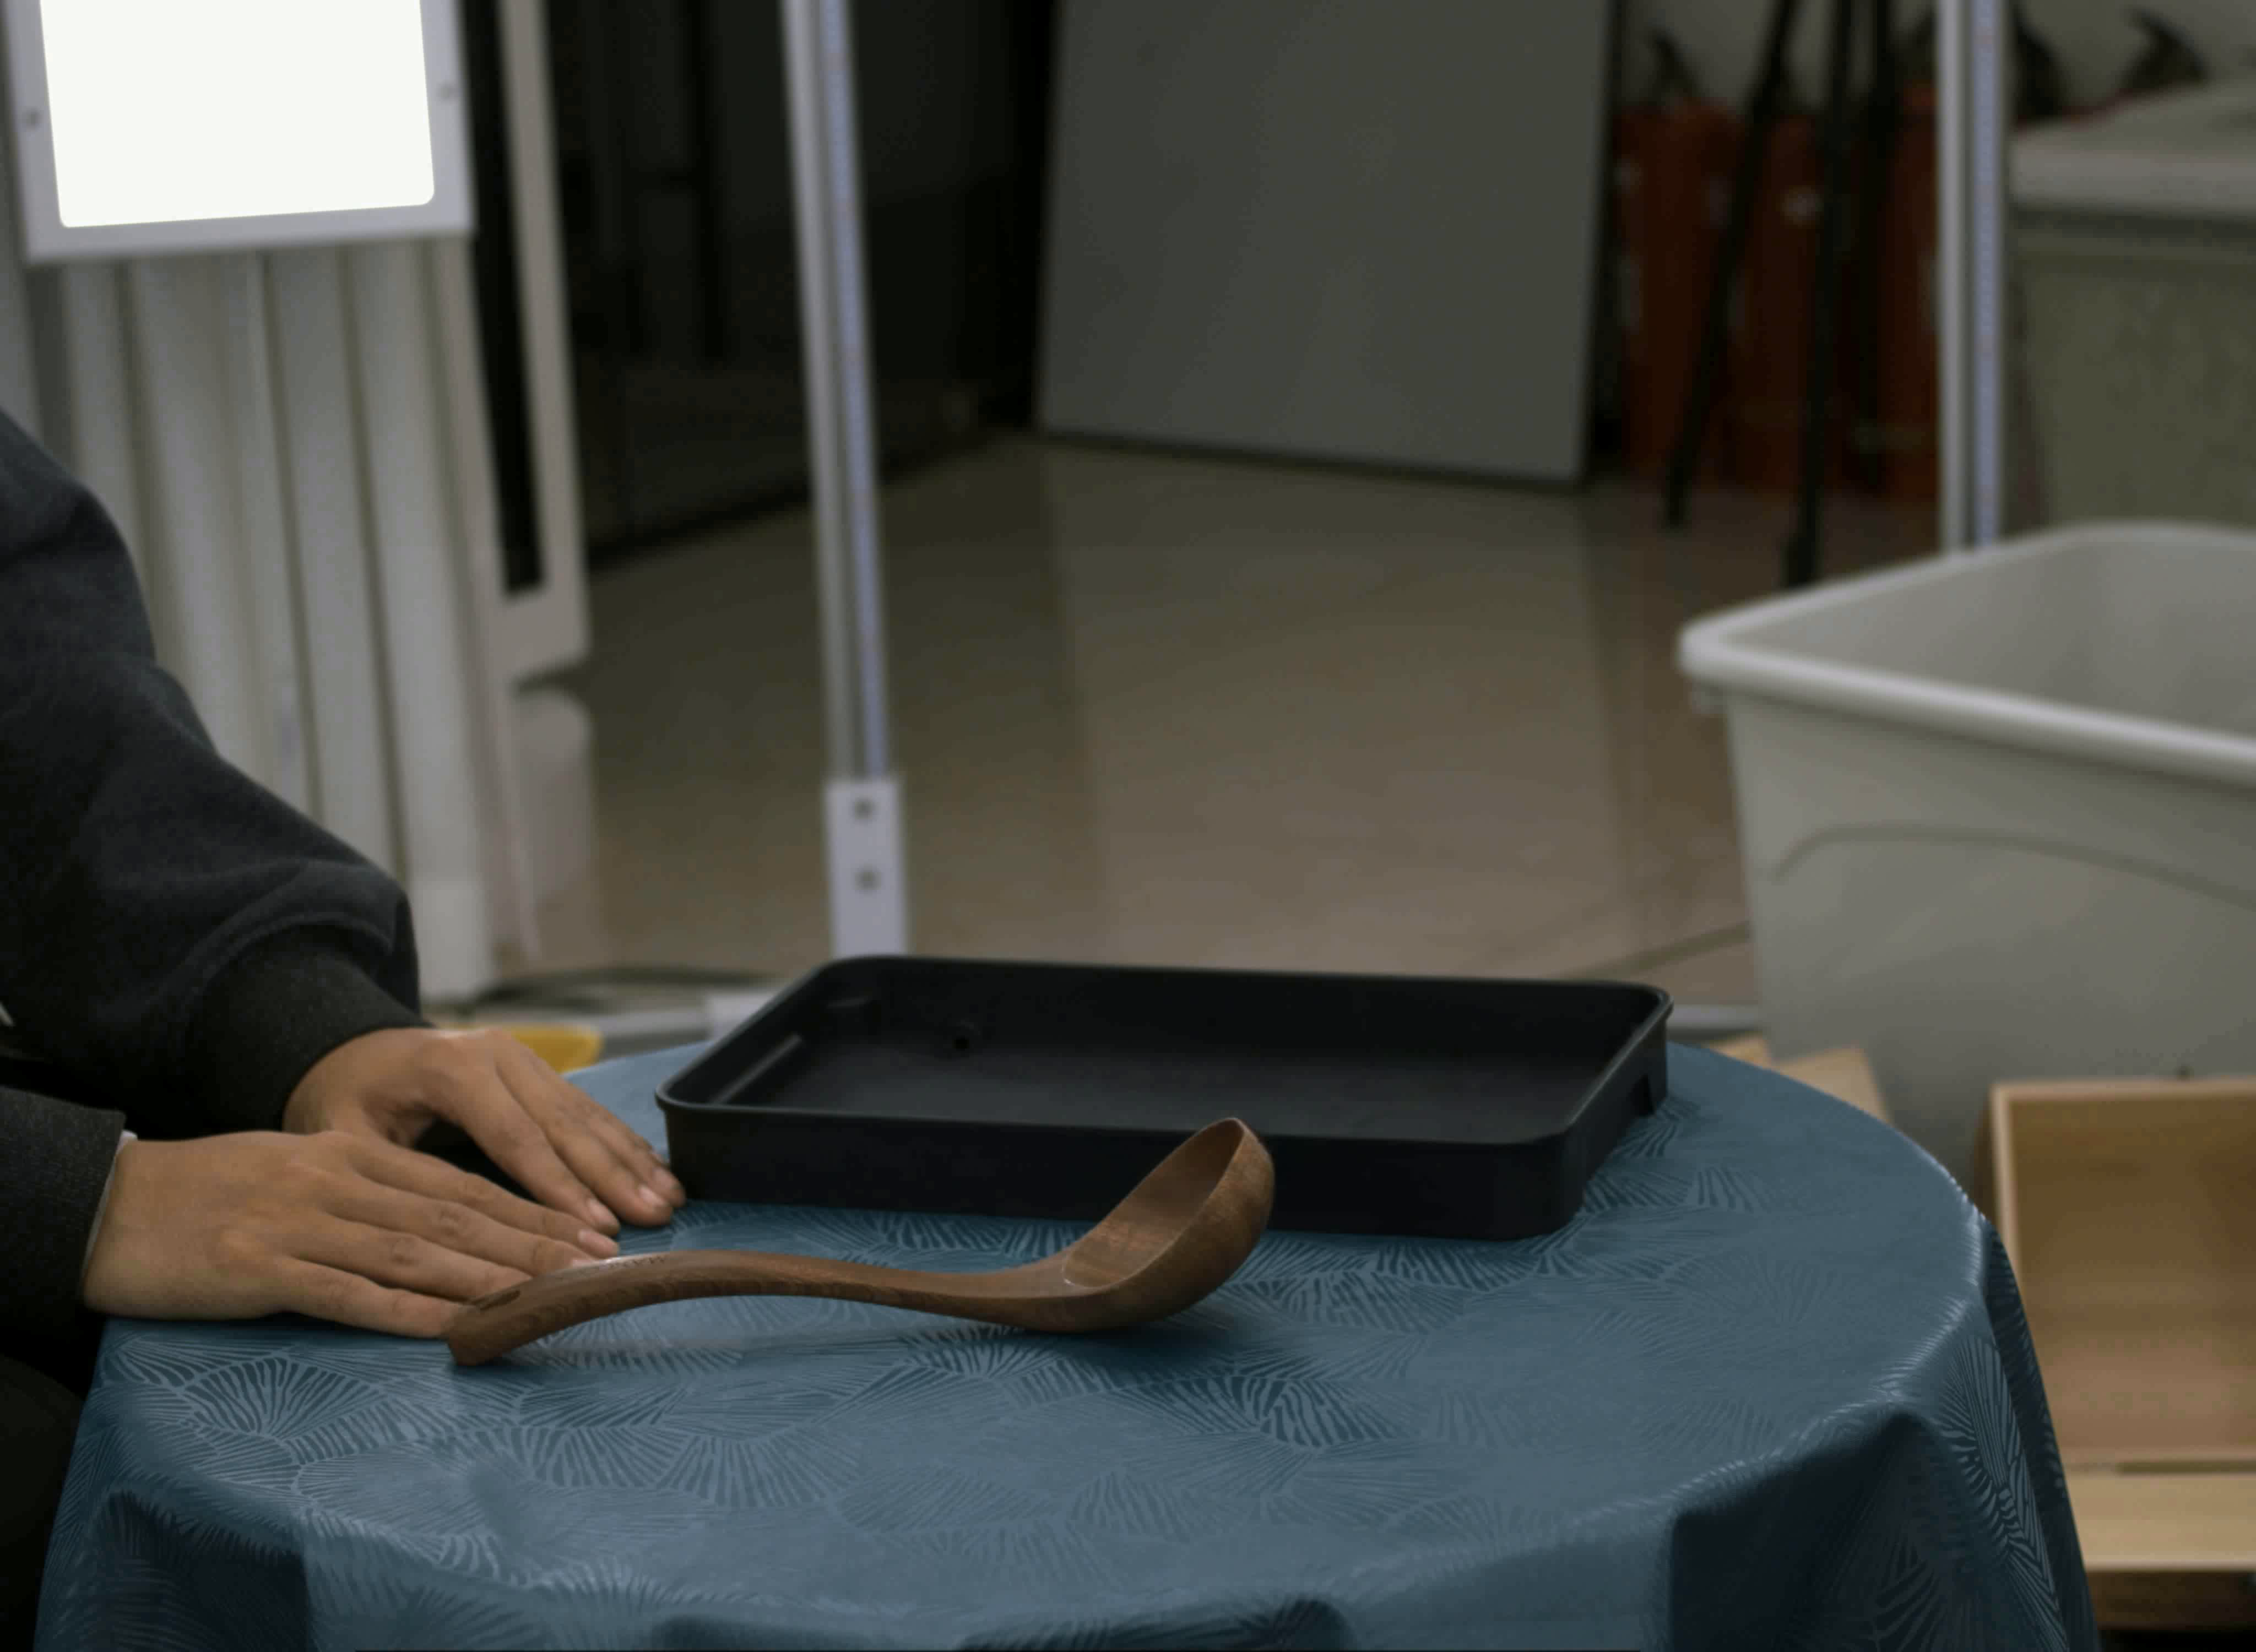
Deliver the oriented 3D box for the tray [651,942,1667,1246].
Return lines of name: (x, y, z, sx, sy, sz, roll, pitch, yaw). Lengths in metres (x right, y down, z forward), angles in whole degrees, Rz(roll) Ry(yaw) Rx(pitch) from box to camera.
tray: (0.013, 0.087, 1.815, 0.317, 0.037, 0.182, 3, 15, 20)

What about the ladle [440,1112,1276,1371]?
ladle: (-0.083, 0.126, 1.635, 0.257, 0.066, 0.076, -3, 15, 4)
